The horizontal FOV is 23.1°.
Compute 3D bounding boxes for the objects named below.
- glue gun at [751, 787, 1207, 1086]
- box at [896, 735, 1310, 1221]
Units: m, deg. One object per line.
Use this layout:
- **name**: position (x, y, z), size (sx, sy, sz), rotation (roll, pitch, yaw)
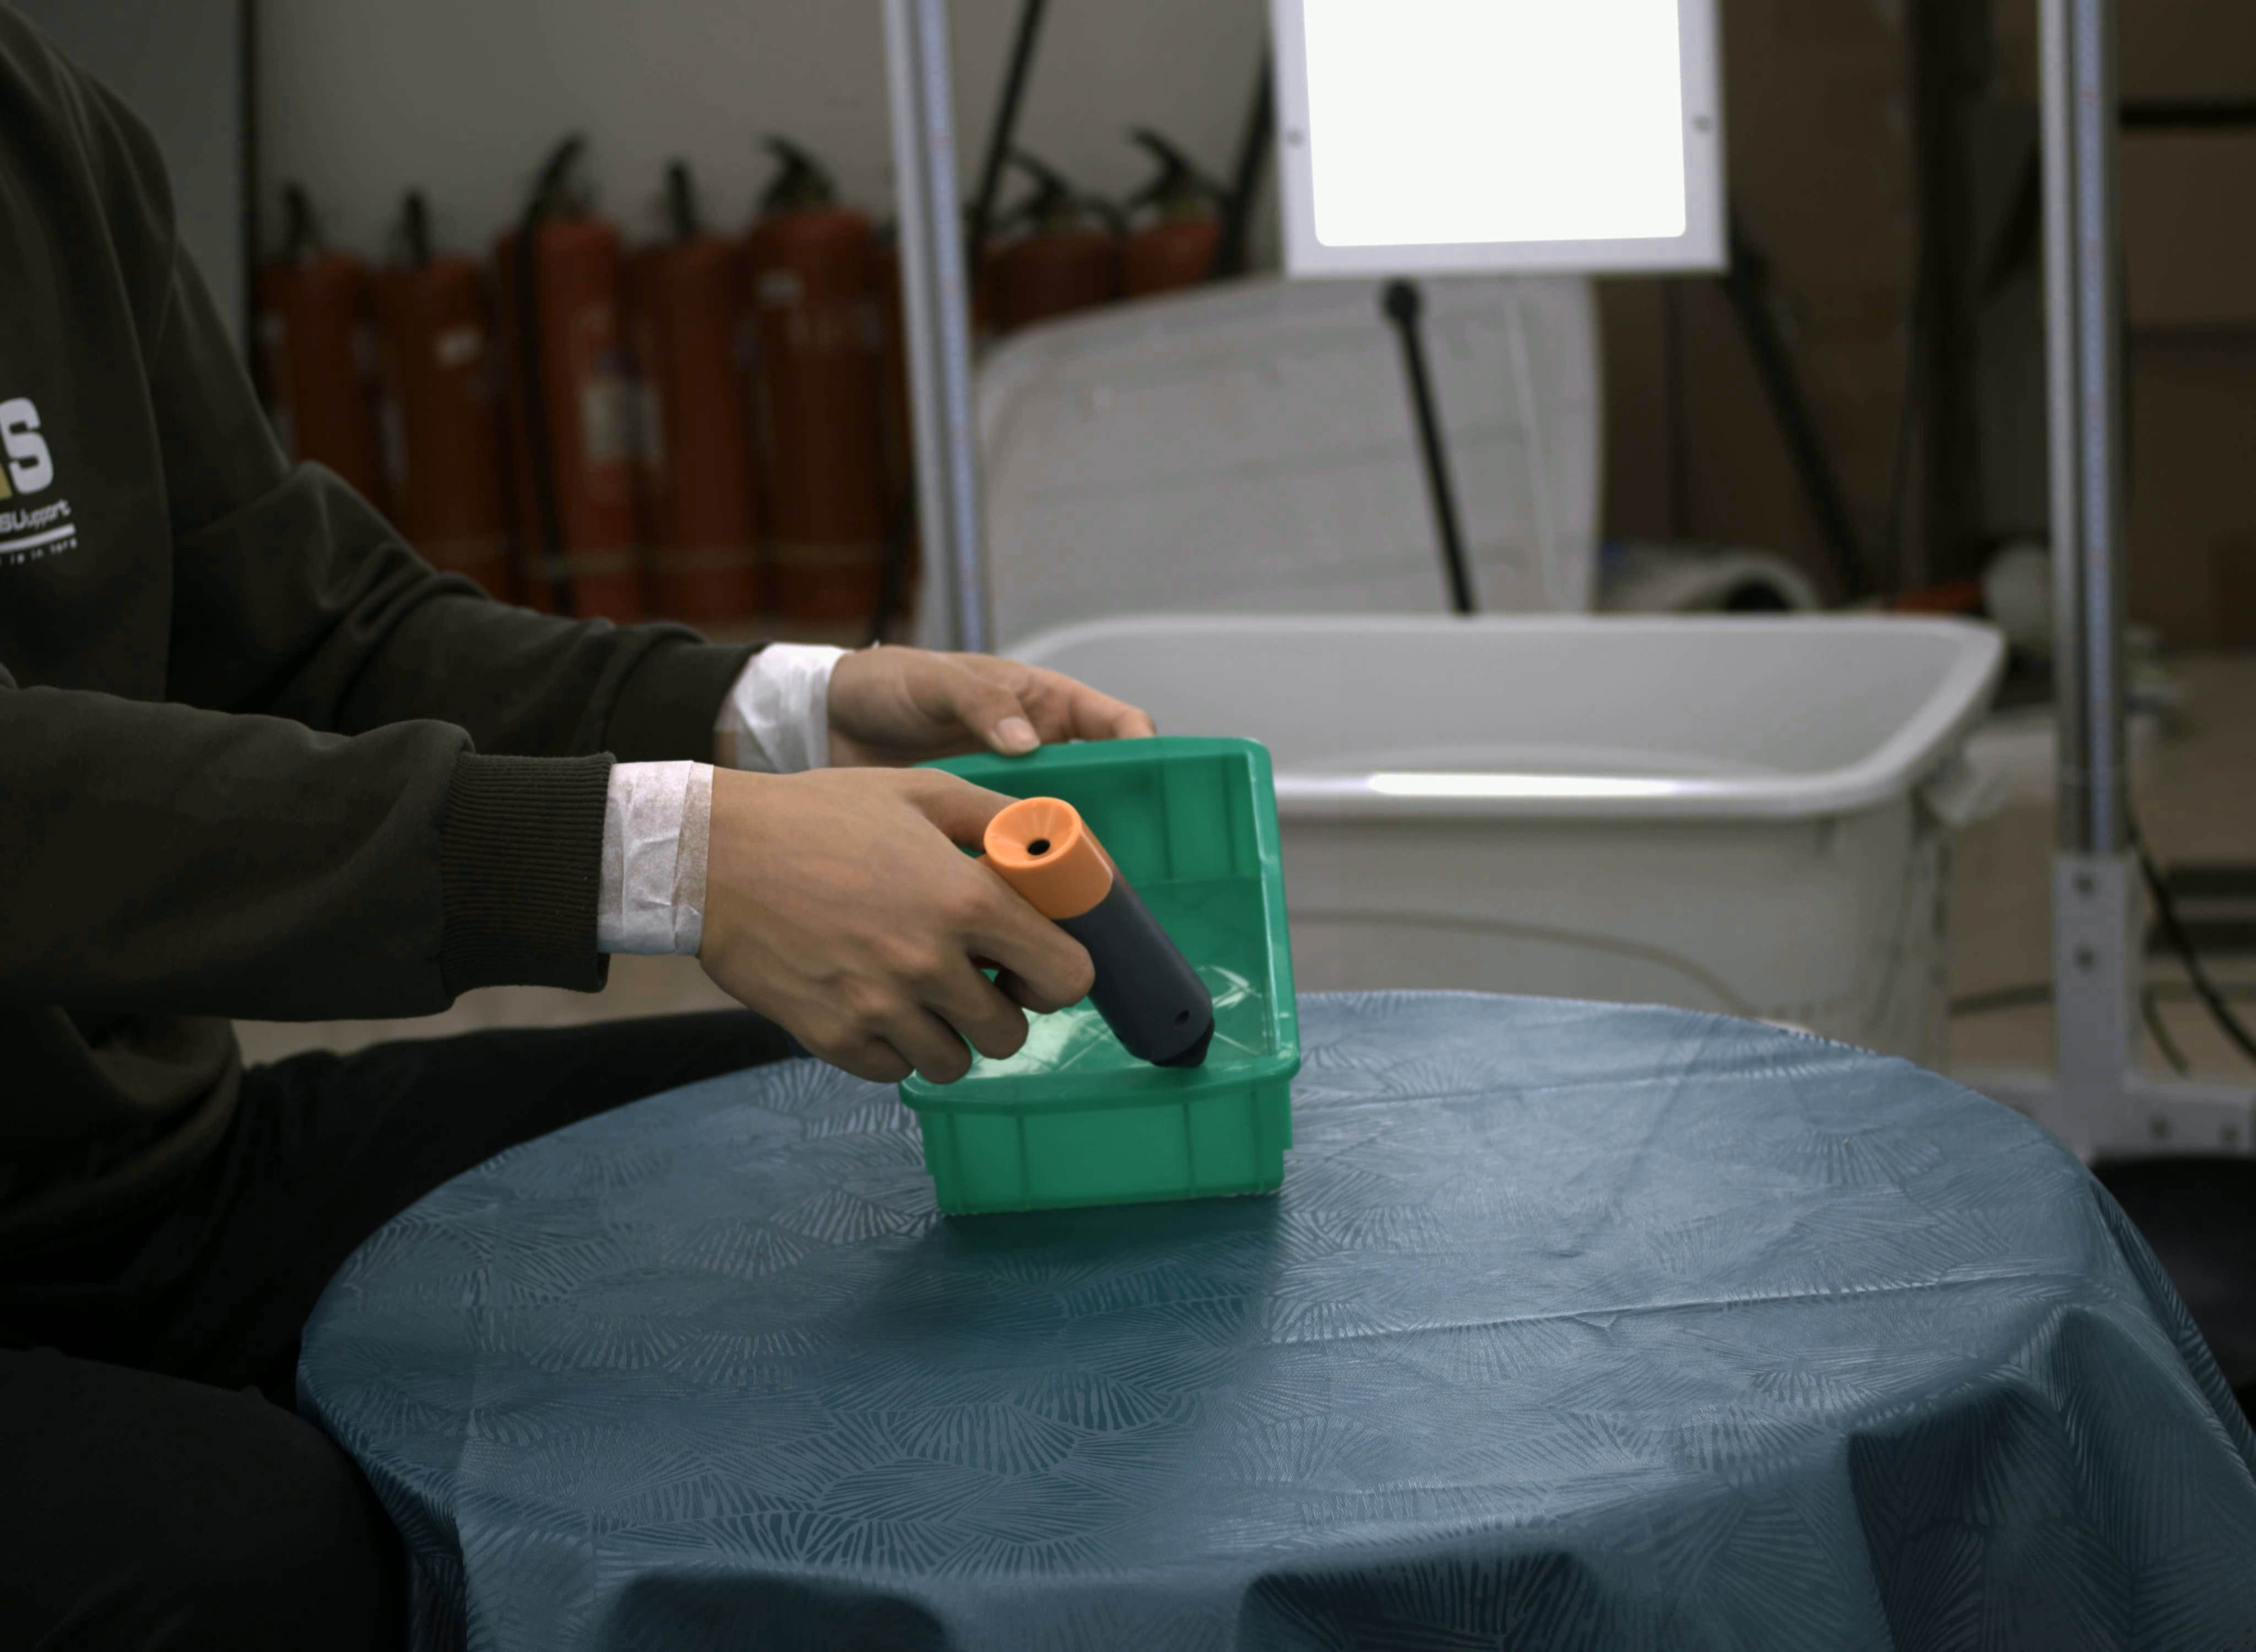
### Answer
- **glue gun**: position (-0.048, 0.043, 1.824), size (0.141, 0.118, 0.040), rotation (-3, 39, 14)
- **box**: position (-0.009, 0.055, 1.942), size (0.138, 0.065, 0.210), rotation (-7, 37, 1)
